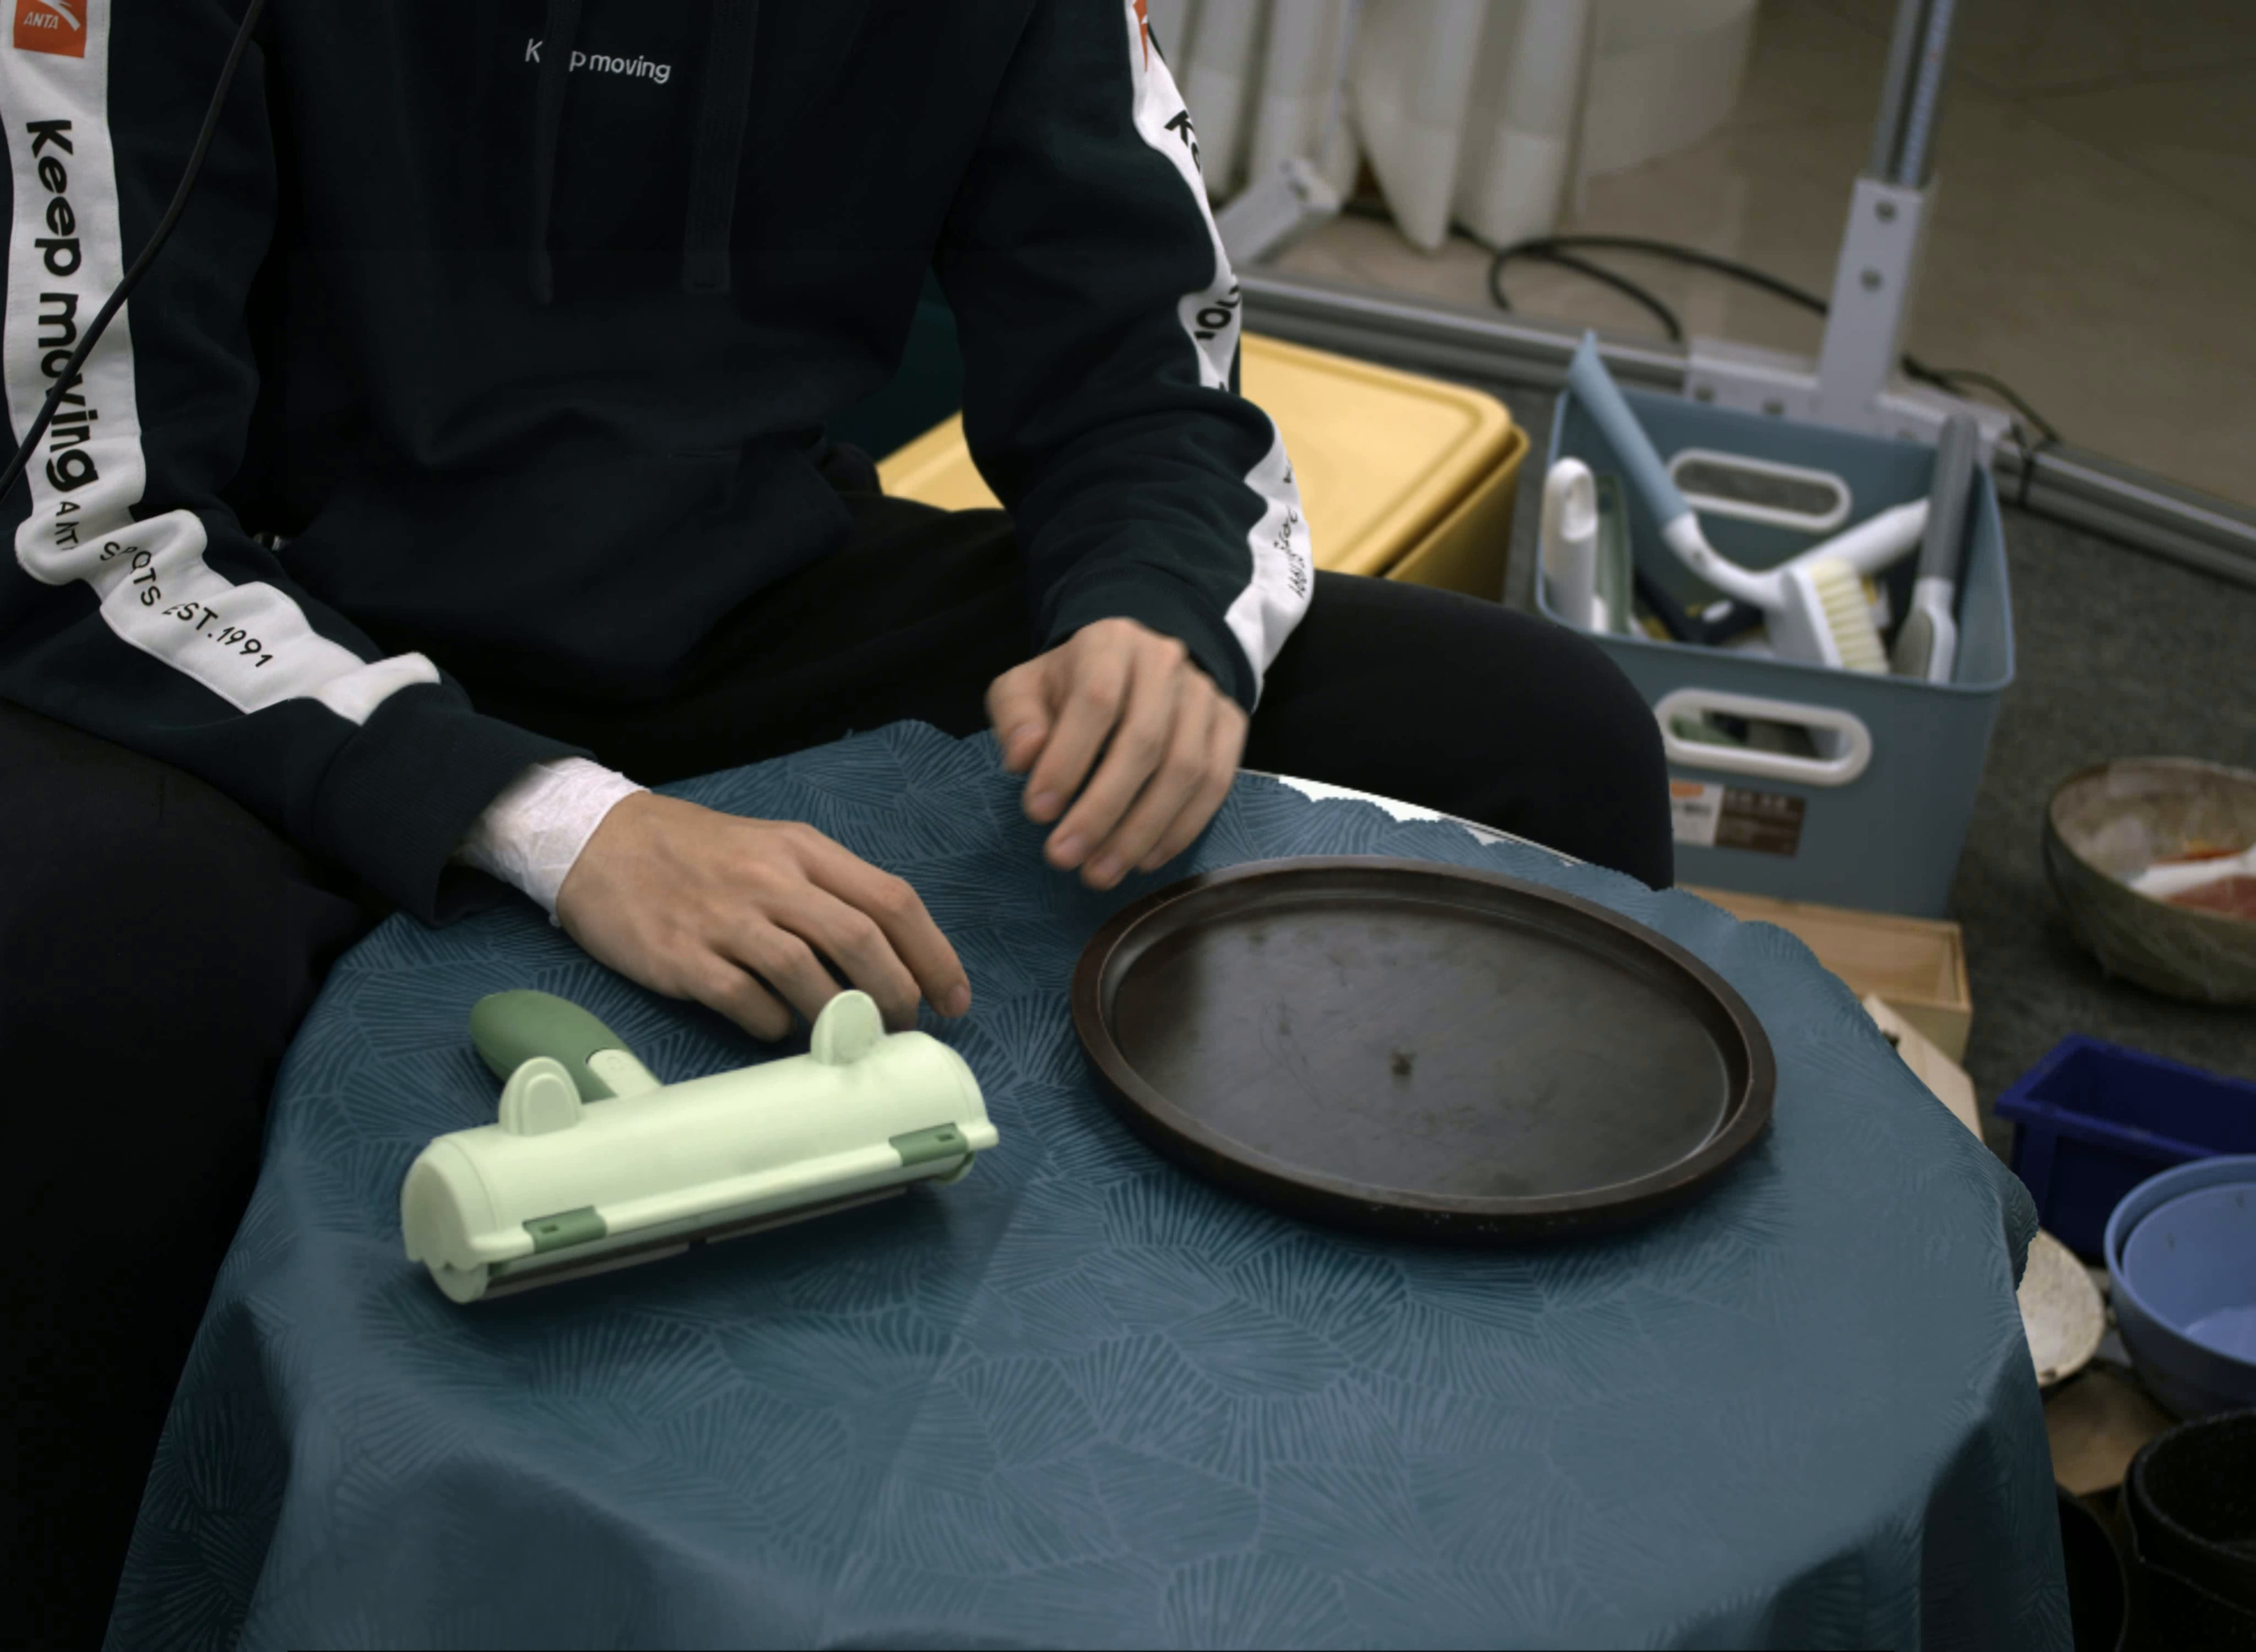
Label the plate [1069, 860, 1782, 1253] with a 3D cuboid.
[{"bbox_3d":[0.104,0.080,1.882,0.254,0.029,0.256,5,28,-3],"label":"plate"}]

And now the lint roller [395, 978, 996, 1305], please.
[{"bbox_3d":[-0.169,0.077,1.764,0.197,0.082,0.185,-12,35,-31],"label":"lint roller"}]
